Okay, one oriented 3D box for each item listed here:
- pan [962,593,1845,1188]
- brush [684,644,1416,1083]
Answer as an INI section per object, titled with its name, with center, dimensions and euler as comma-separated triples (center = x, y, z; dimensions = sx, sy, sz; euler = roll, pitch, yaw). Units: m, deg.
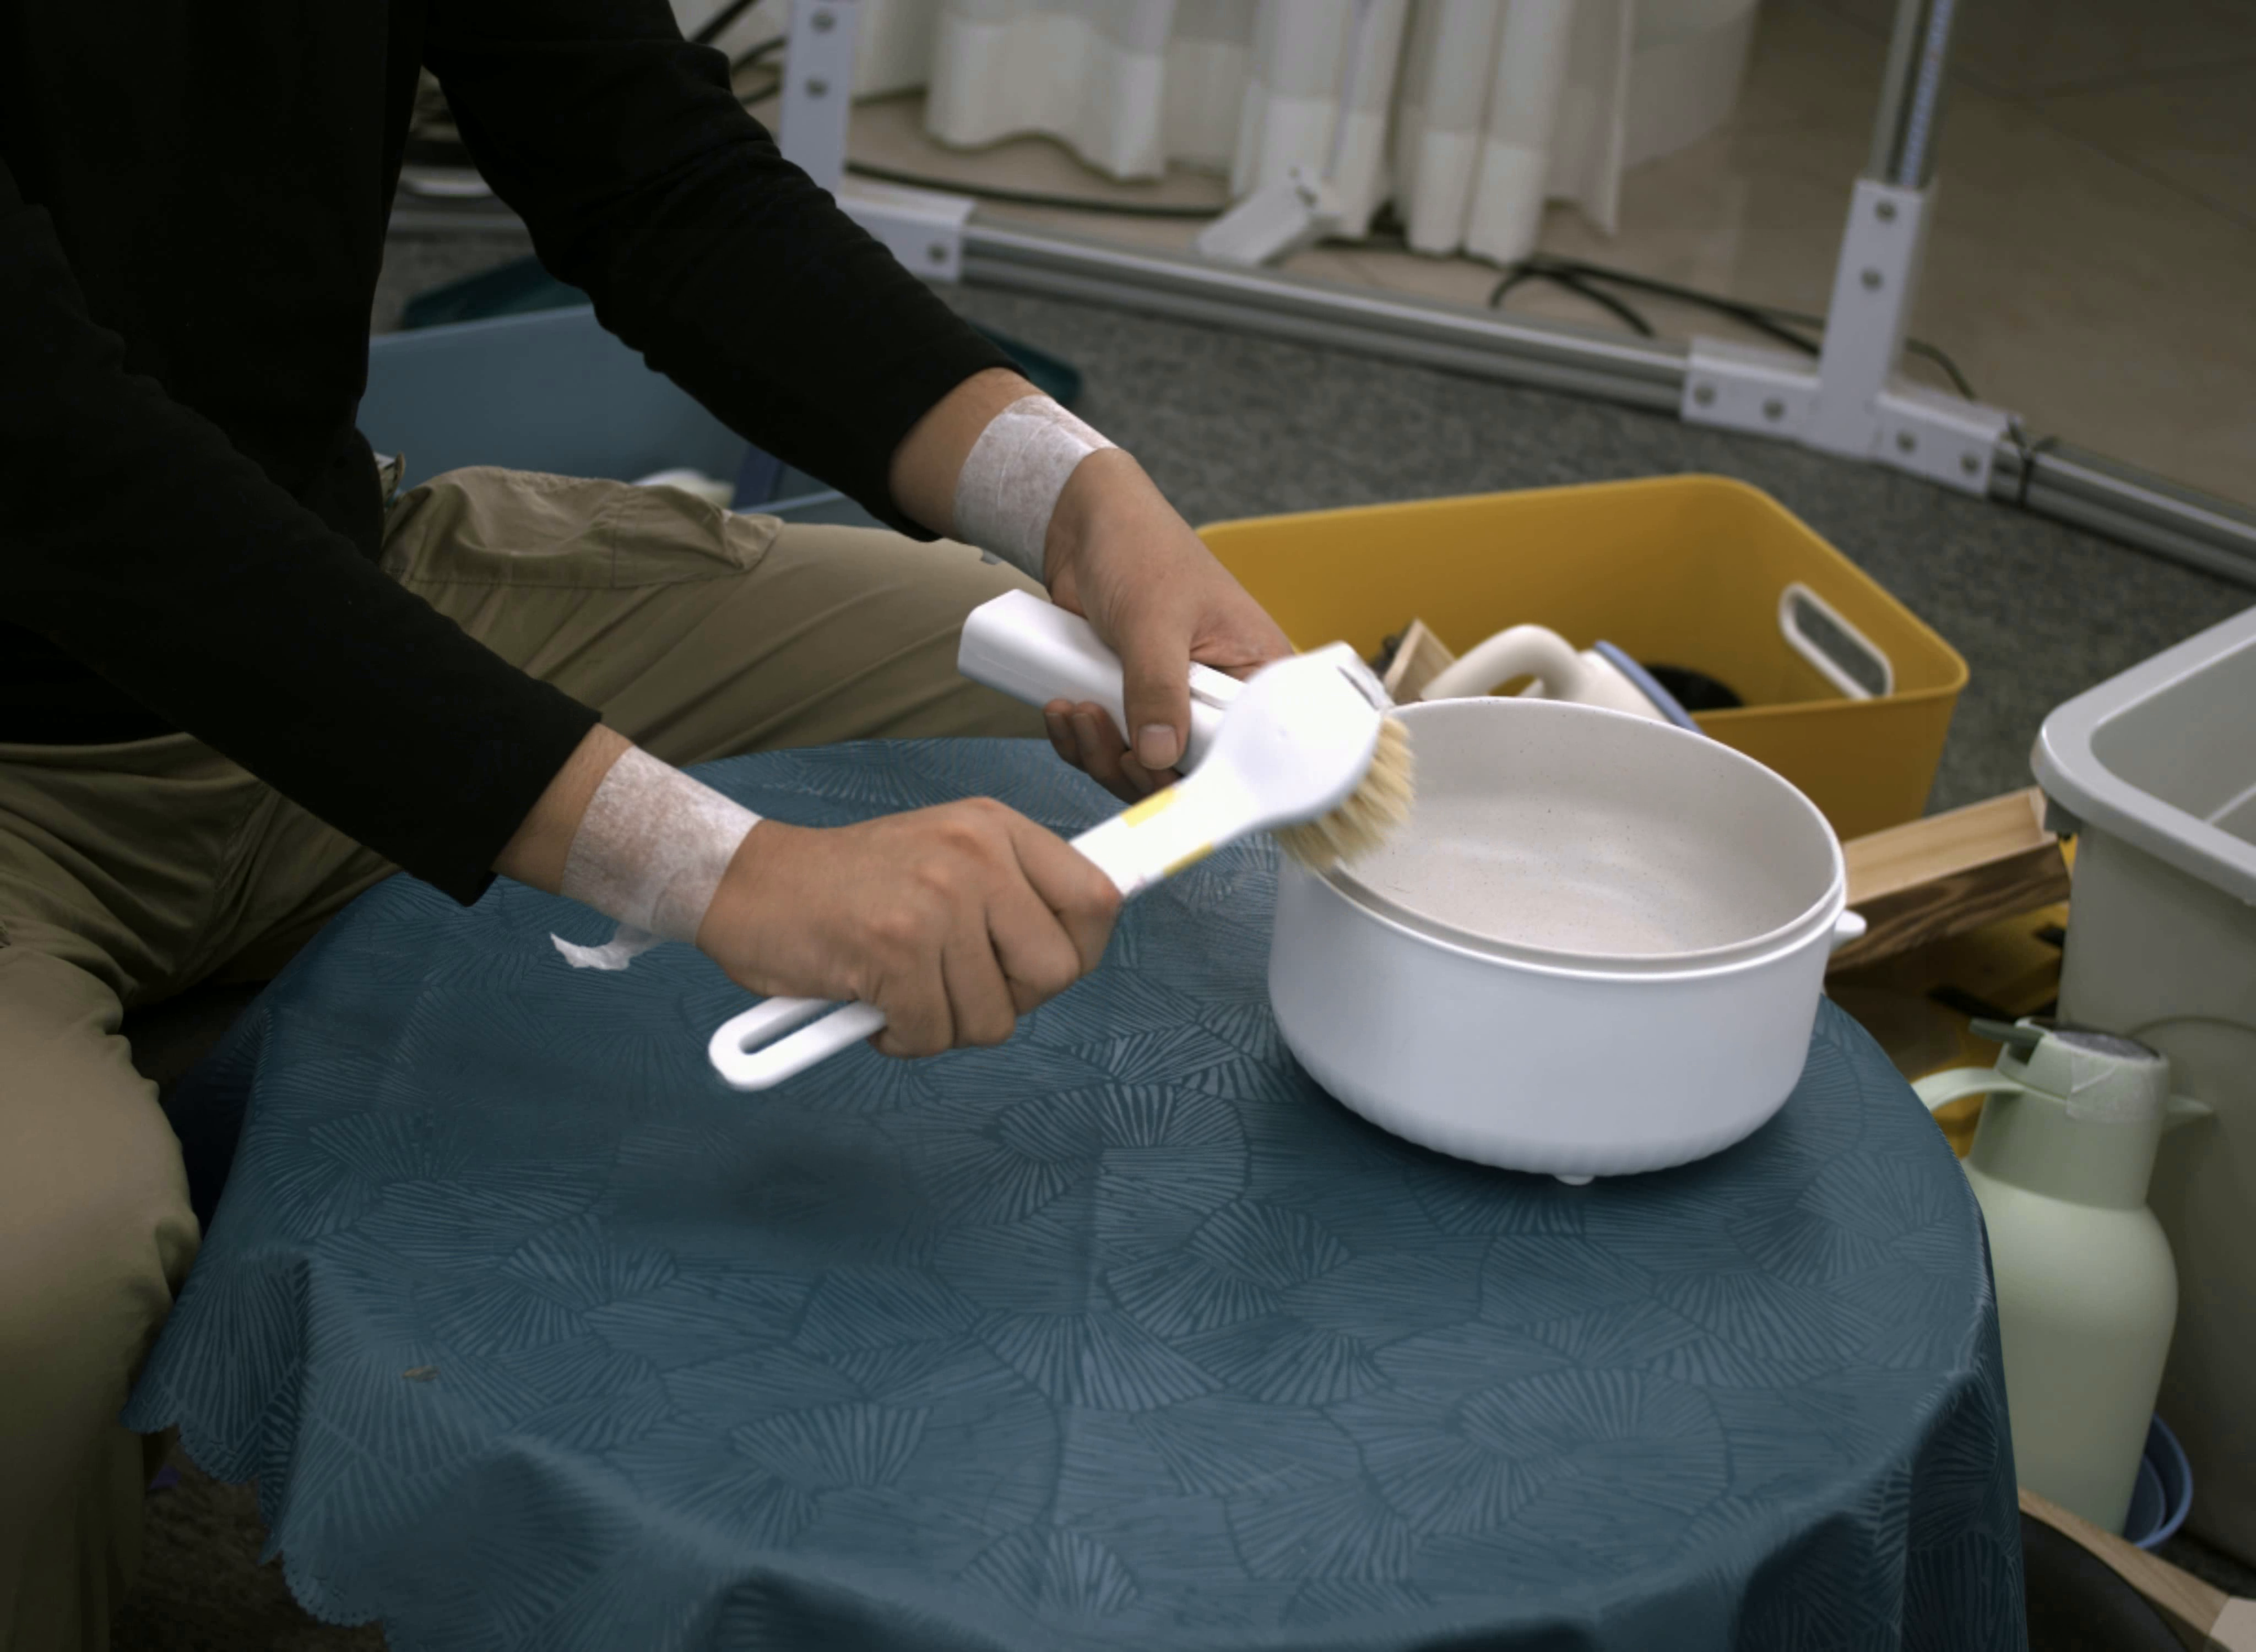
[pan]
center = 0.086, 0.018, 1.922
dimensions = 0.357, 0.102, 0.200
euler = 23, 32, 30
[brush]
center = -0.024, 0.026, 1.765
dimensions = 0.266, 0.056, 0.069
euler = -30, 48, -9
